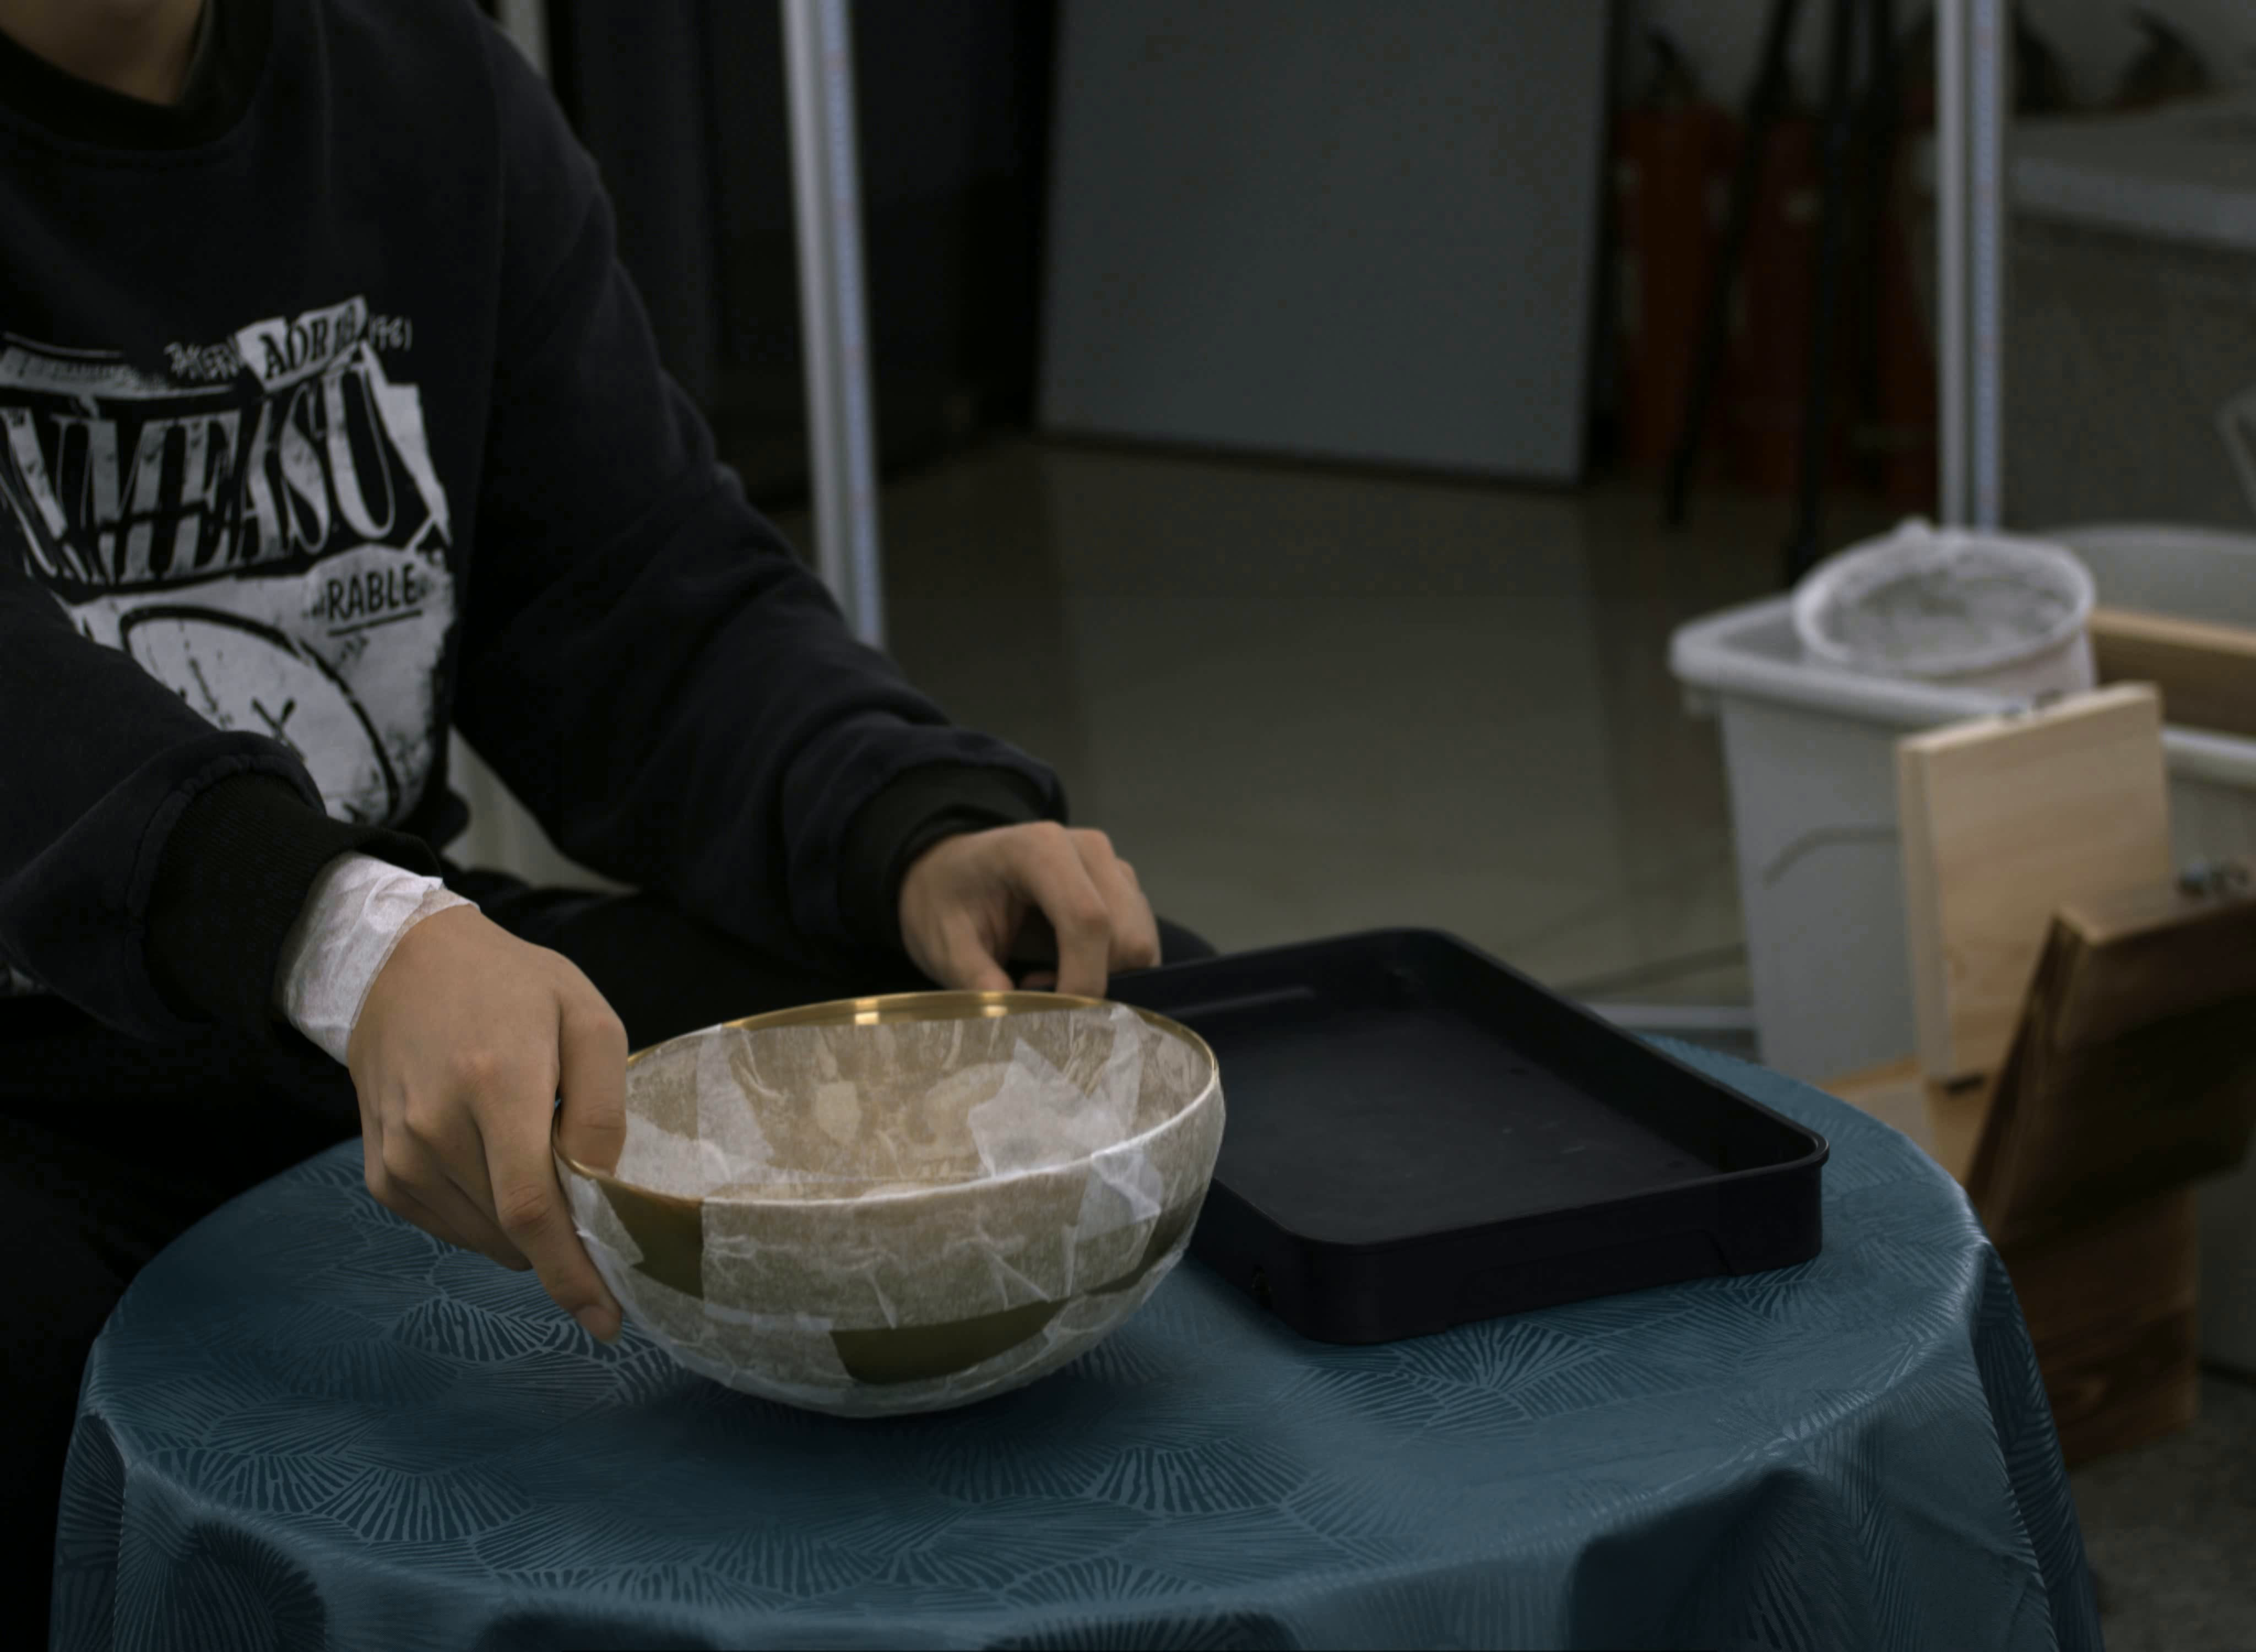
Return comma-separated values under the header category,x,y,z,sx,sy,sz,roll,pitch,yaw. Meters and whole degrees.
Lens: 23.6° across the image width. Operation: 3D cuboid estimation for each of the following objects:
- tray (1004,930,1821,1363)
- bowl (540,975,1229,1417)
category,x,y,z,sx,sy,sz,roll,pitch,yaw
tray,0.083,0.100,1.771,0.180,0.037,0.321,-8,16,-18
bowl,-0.066,0.117,1.596,0.212,0.095,0.215,-7,15,1
